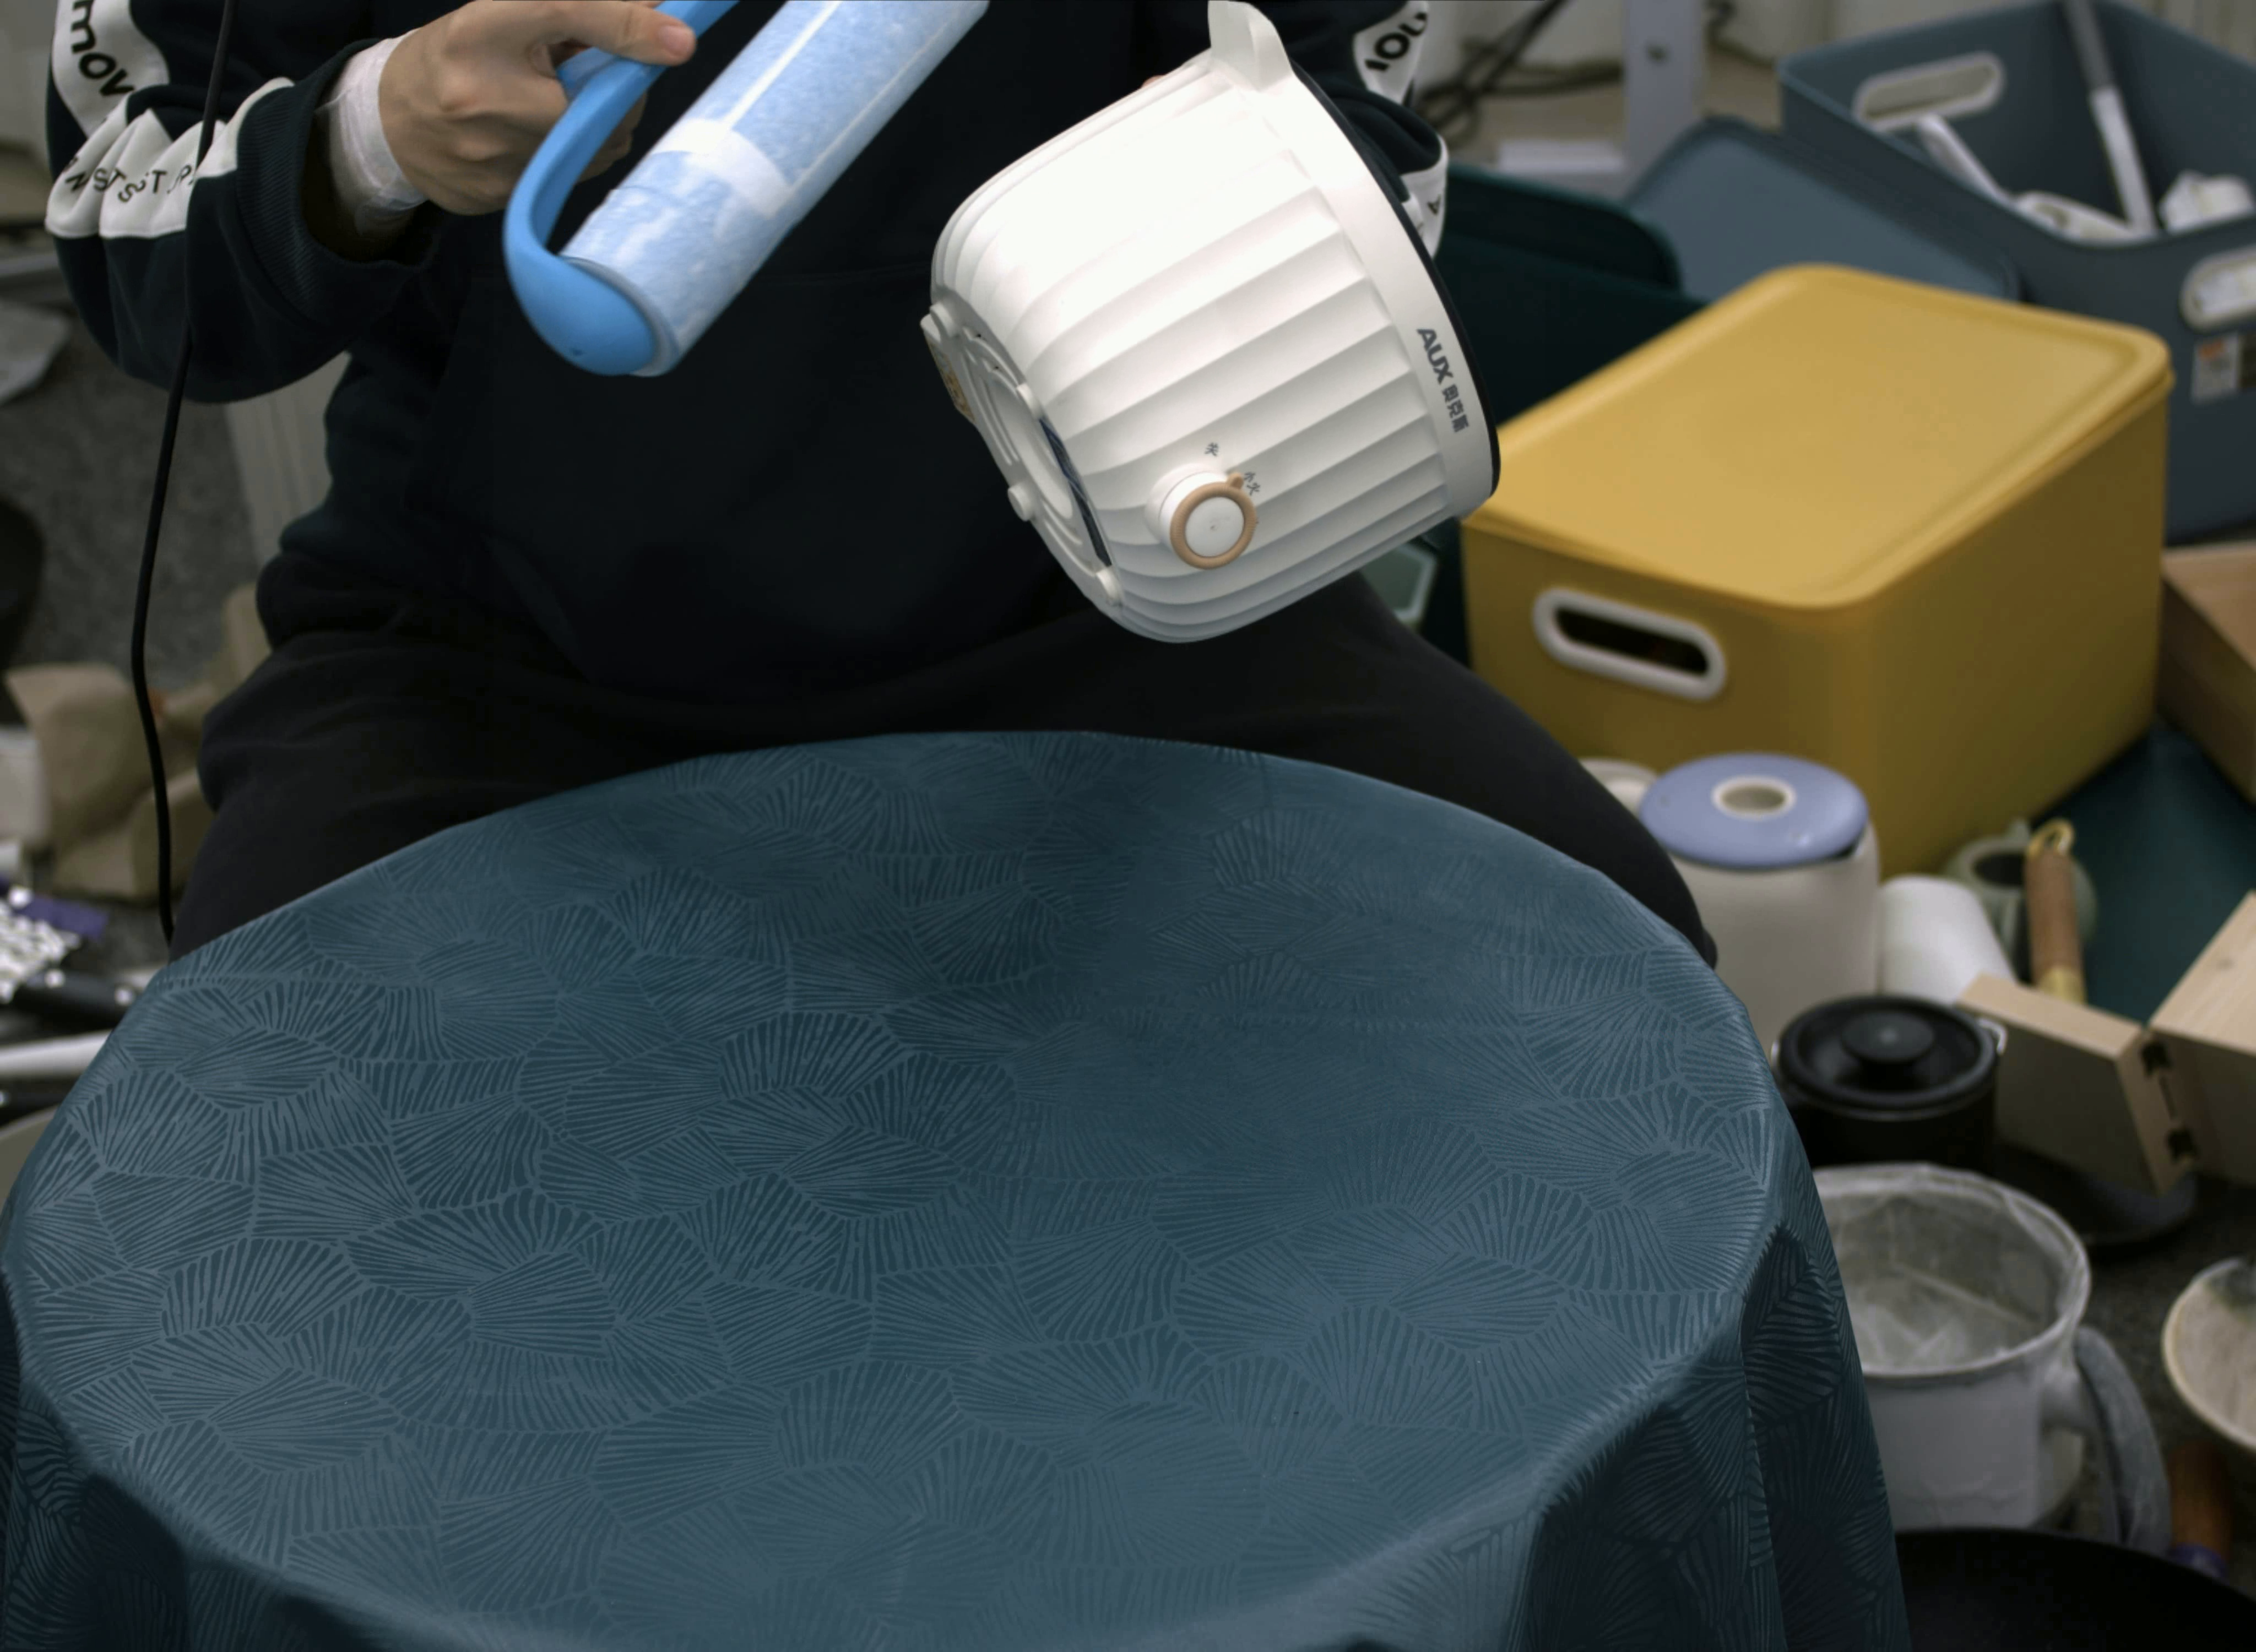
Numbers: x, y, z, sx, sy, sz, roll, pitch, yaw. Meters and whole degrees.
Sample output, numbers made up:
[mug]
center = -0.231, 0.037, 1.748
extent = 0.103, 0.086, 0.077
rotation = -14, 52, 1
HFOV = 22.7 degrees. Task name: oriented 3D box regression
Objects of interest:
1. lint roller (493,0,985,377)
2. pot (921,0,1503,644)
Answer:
[lint roller]
center = -0.166, -0.240, 1.951
extent = 0.179, 0.067, 0.233
rotation = 4, 48, 38
[pot]
center = 0.026, -0.155, 1.914
extent = 0.143, 0.238, 0.191
rotation = -32, 34, -12
